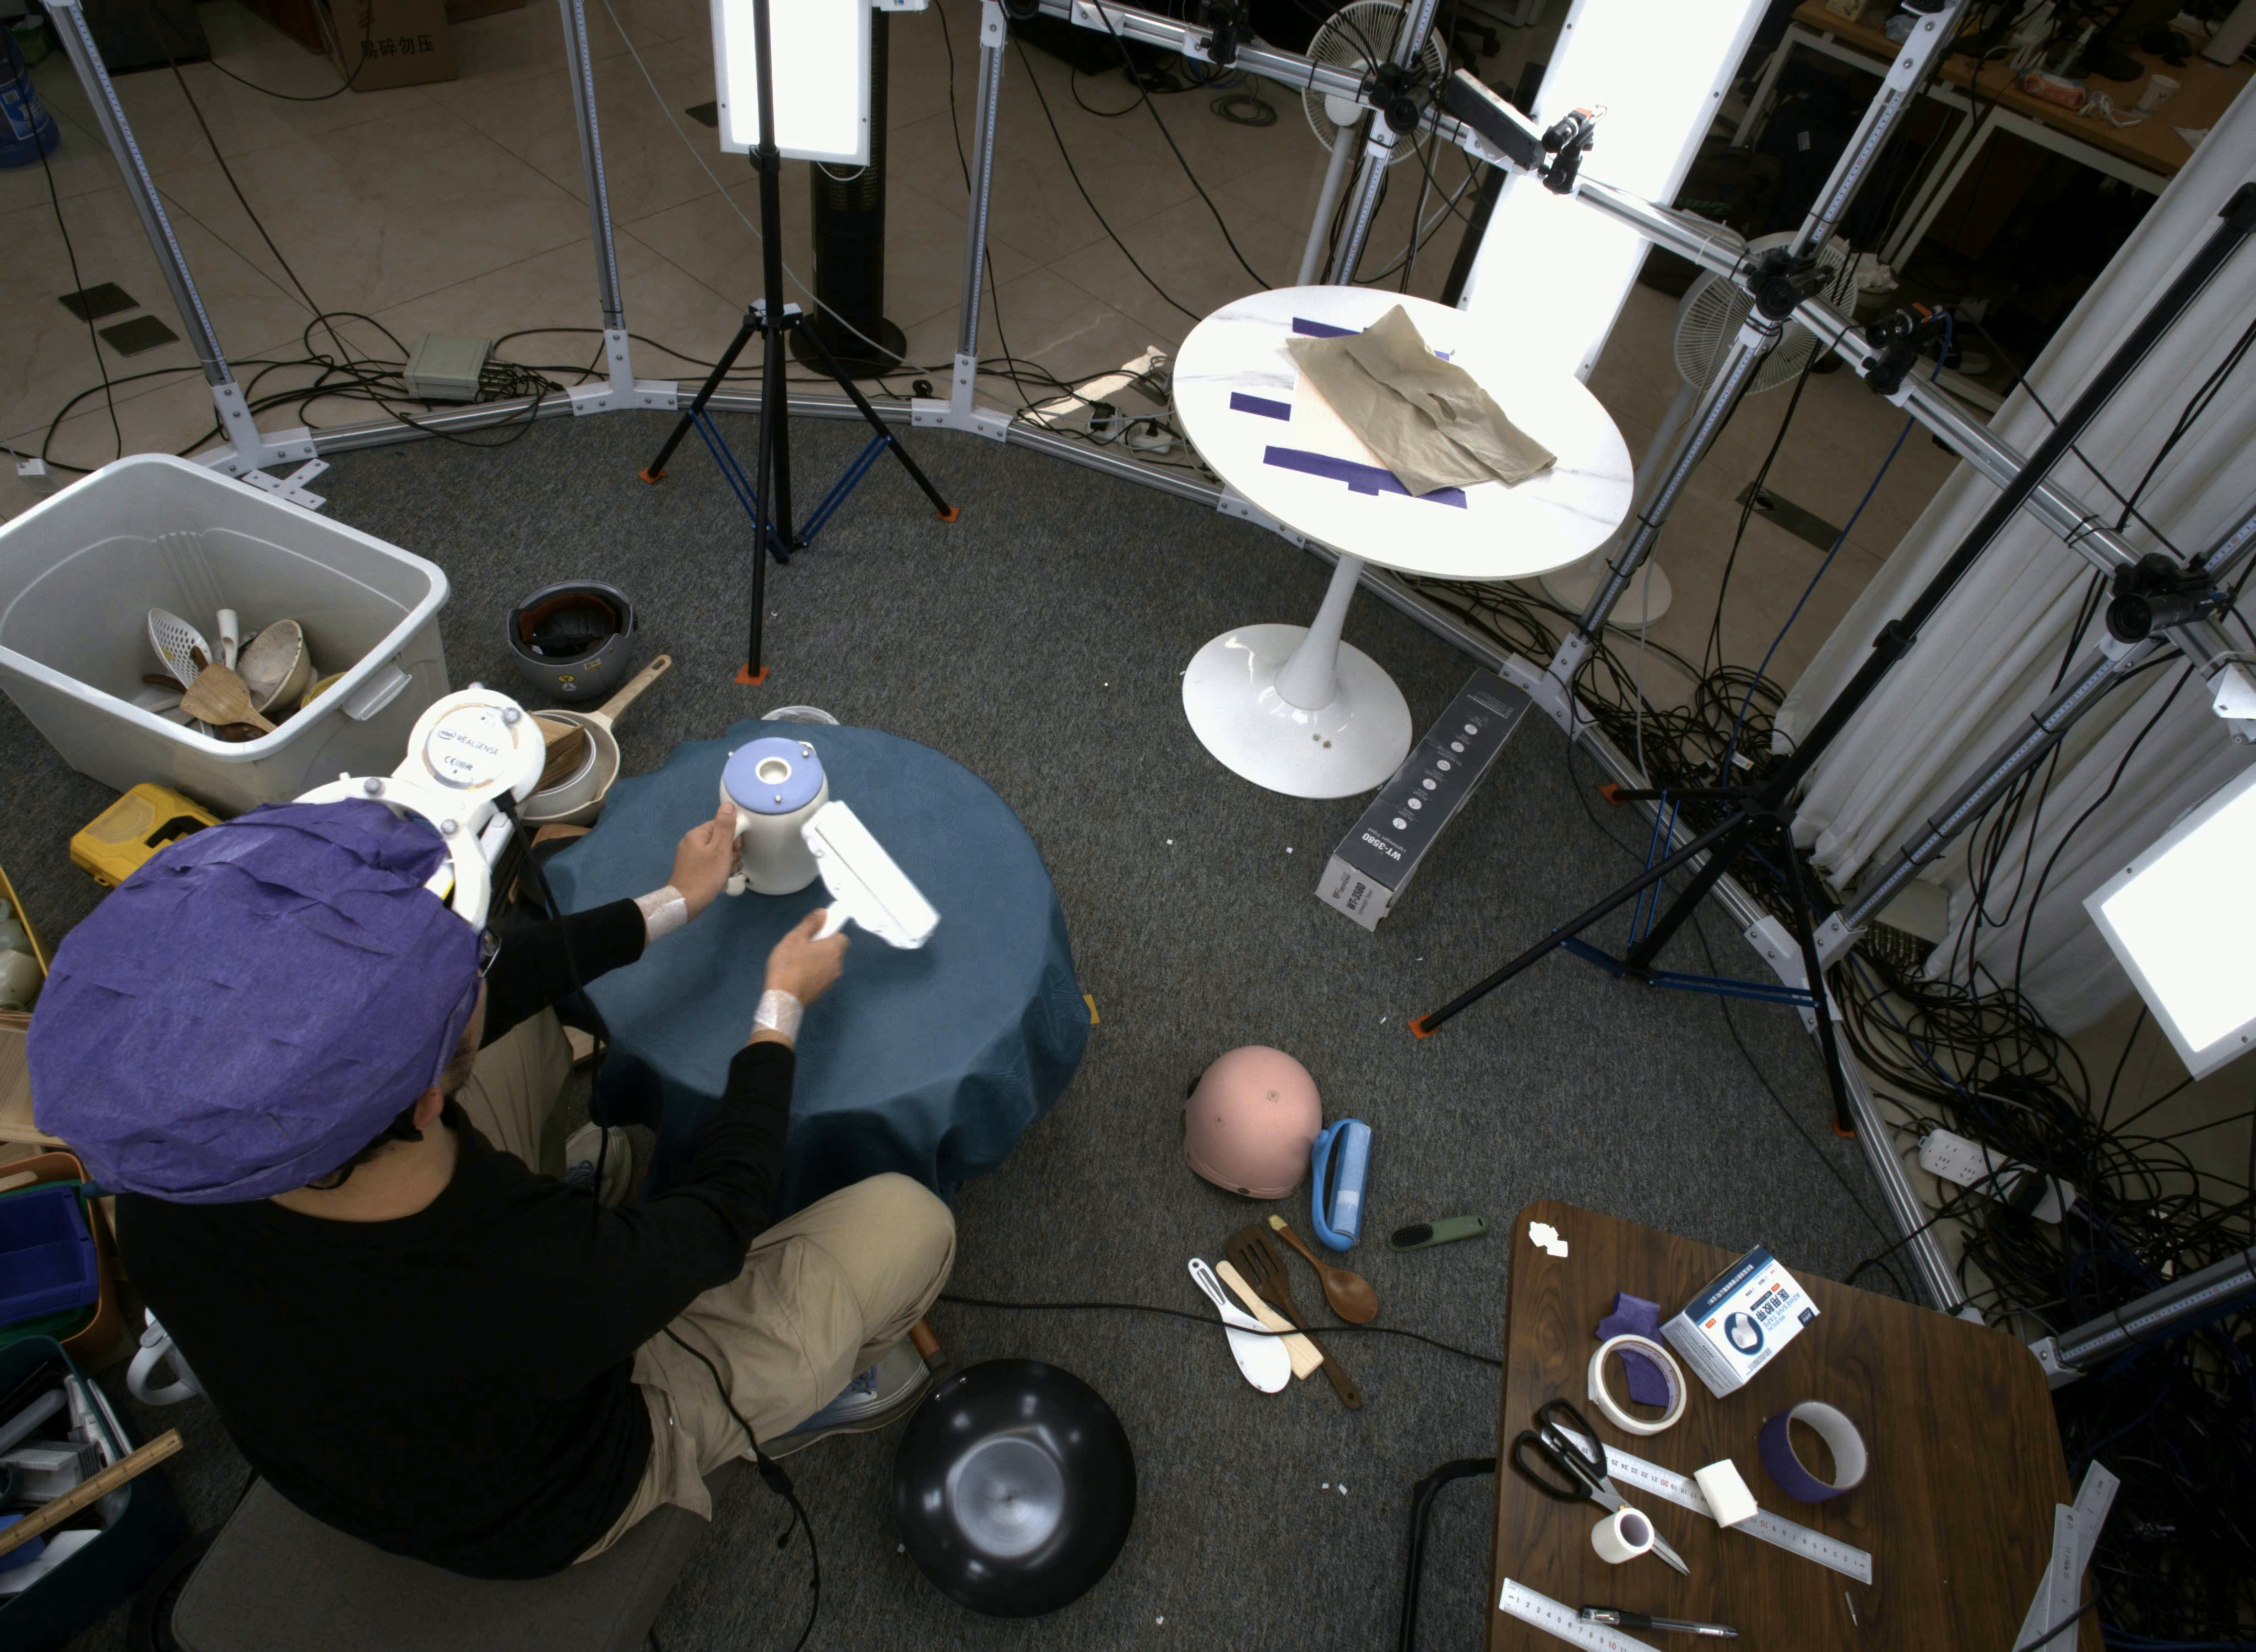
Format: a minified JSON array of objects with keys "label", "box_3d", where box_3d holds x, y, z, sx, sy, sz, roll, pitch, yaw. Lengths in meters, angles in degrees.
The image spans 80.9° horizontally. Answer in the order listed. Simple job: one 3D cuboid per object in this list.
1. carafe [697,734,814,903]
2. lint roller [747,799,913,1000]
[{"label":"carafe","box_3d":[-0.468,0.003,1.594,0.130,0.186,0.190,26,54,9]},{"label":"lint roller","box_3d":[-0.367,0.112,1.511,0.047,0.210,0.224,-6,39,39]}]
